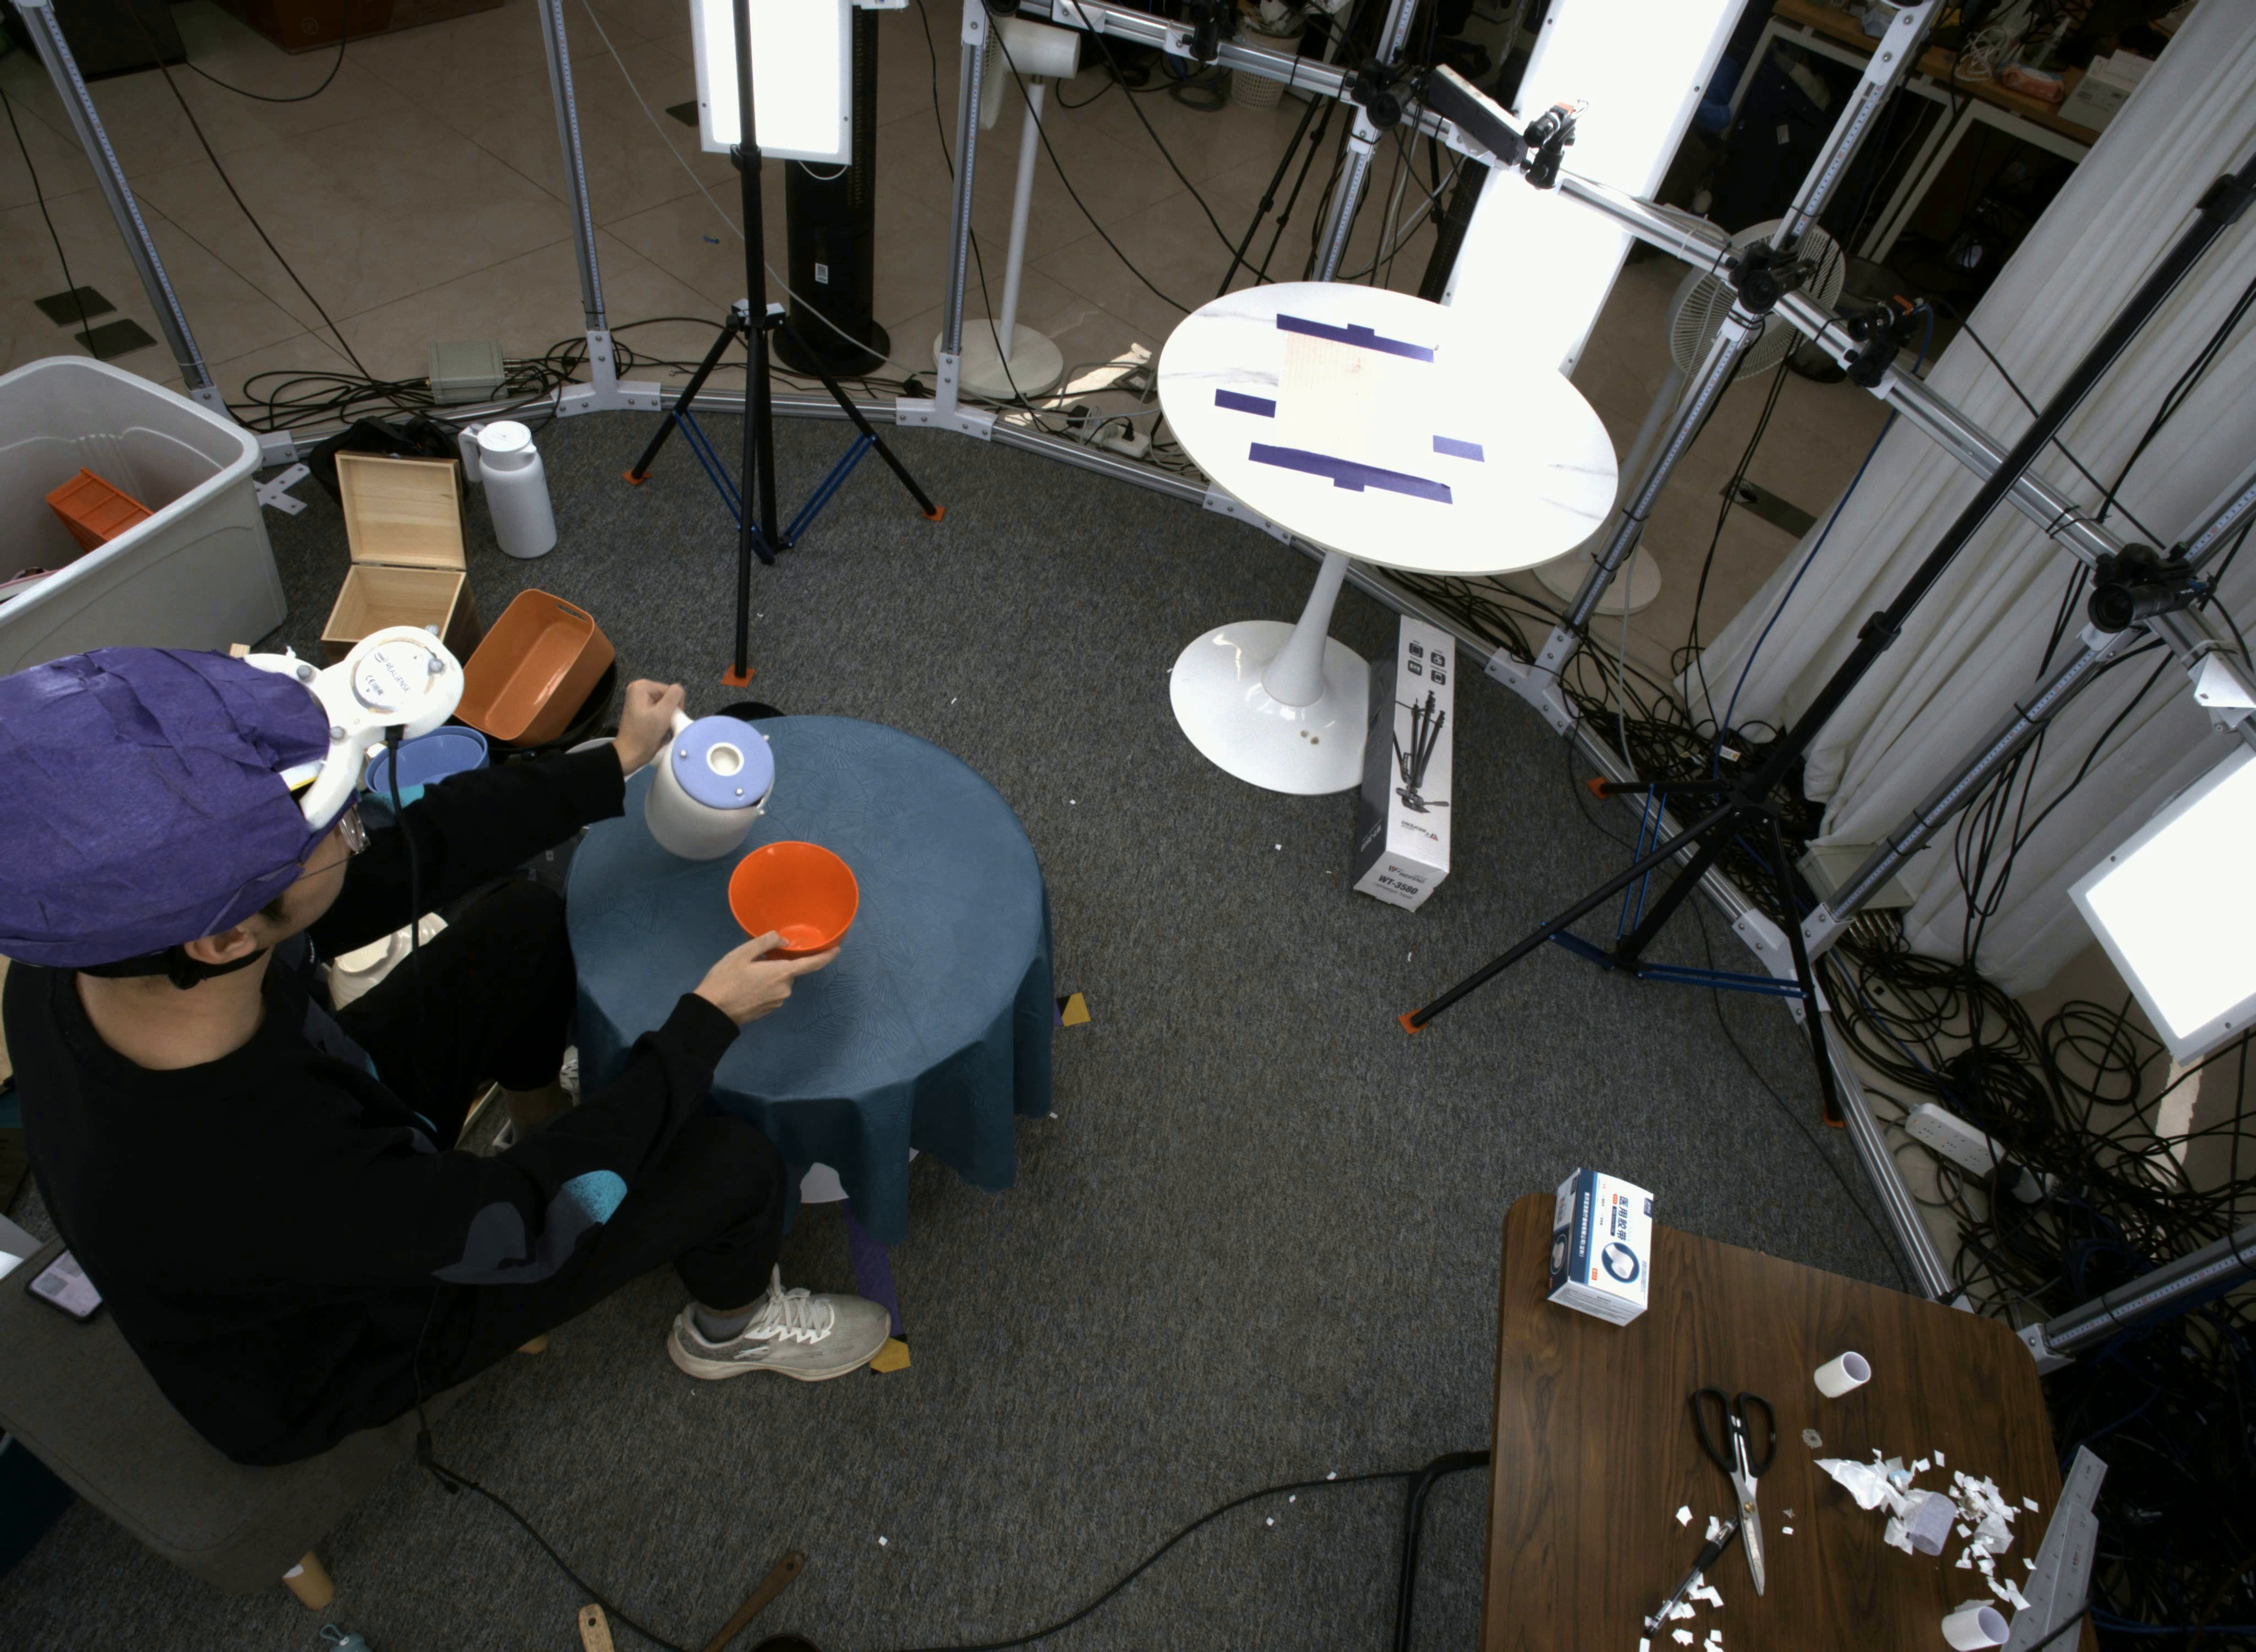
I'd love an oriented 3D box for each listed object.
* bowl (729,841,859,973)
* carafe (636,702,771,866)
[{"bbox_3d":[-0.391,0.105,1.529,0.147,0.107,0.145,8,45,-6],"label":"bowl"},{"bbox_3d":[-0.525,-0.062,1.557,0.191,0.182,0.132,46,53,-1],"label":"carafe"}]
